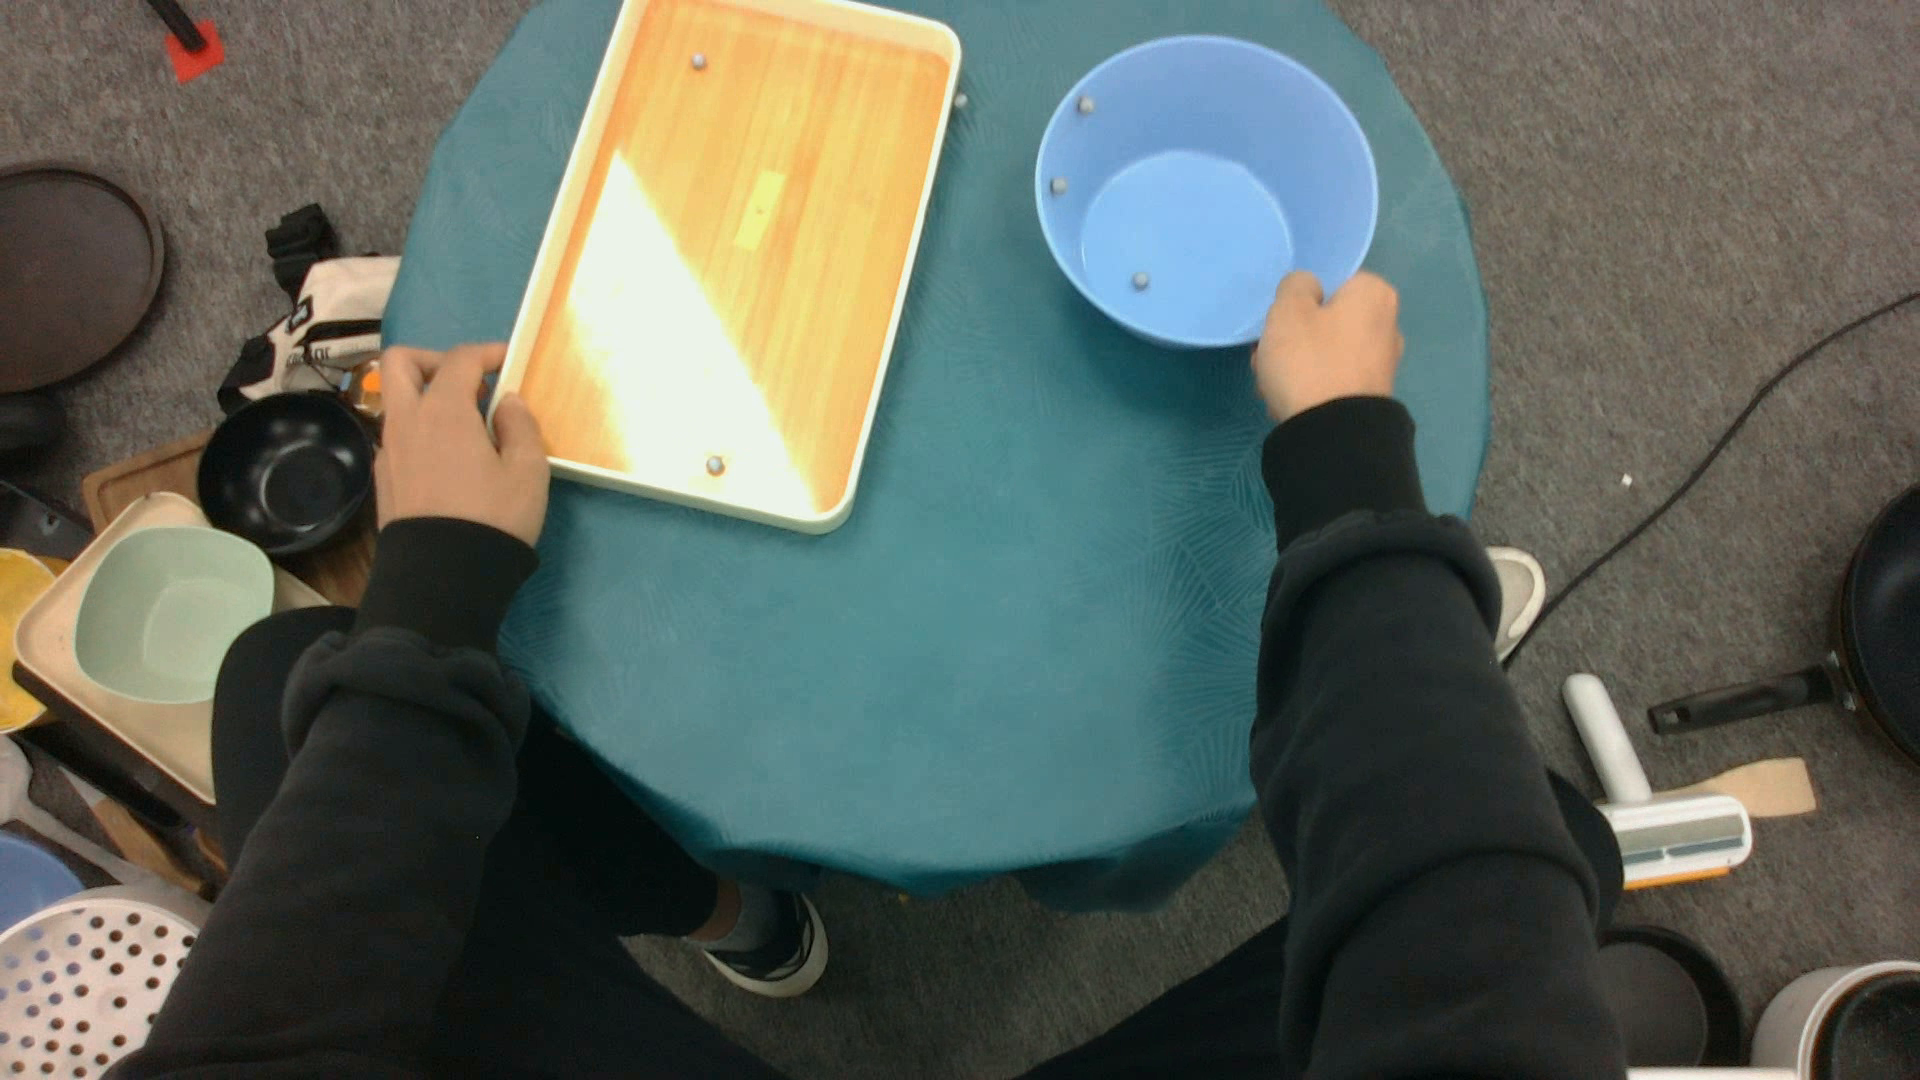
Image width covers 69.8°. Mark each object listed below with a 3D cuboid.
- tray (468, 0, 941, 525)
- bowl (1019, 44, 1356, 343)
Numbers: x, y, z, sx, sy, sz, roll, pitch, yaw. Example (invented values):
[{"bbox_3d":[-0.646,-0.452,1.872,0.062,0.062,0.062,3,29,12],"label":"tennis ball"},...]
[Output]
[{"bbox_3d":[-0.131,-0.166,0.748,0.191,0.027,0.301,12,73,0],"label":"tray"},{"bbox_3d":[0.117,-0.174,0.742,0.176,0.070,0.176,1,72,-2],"label":"bowl"}]
